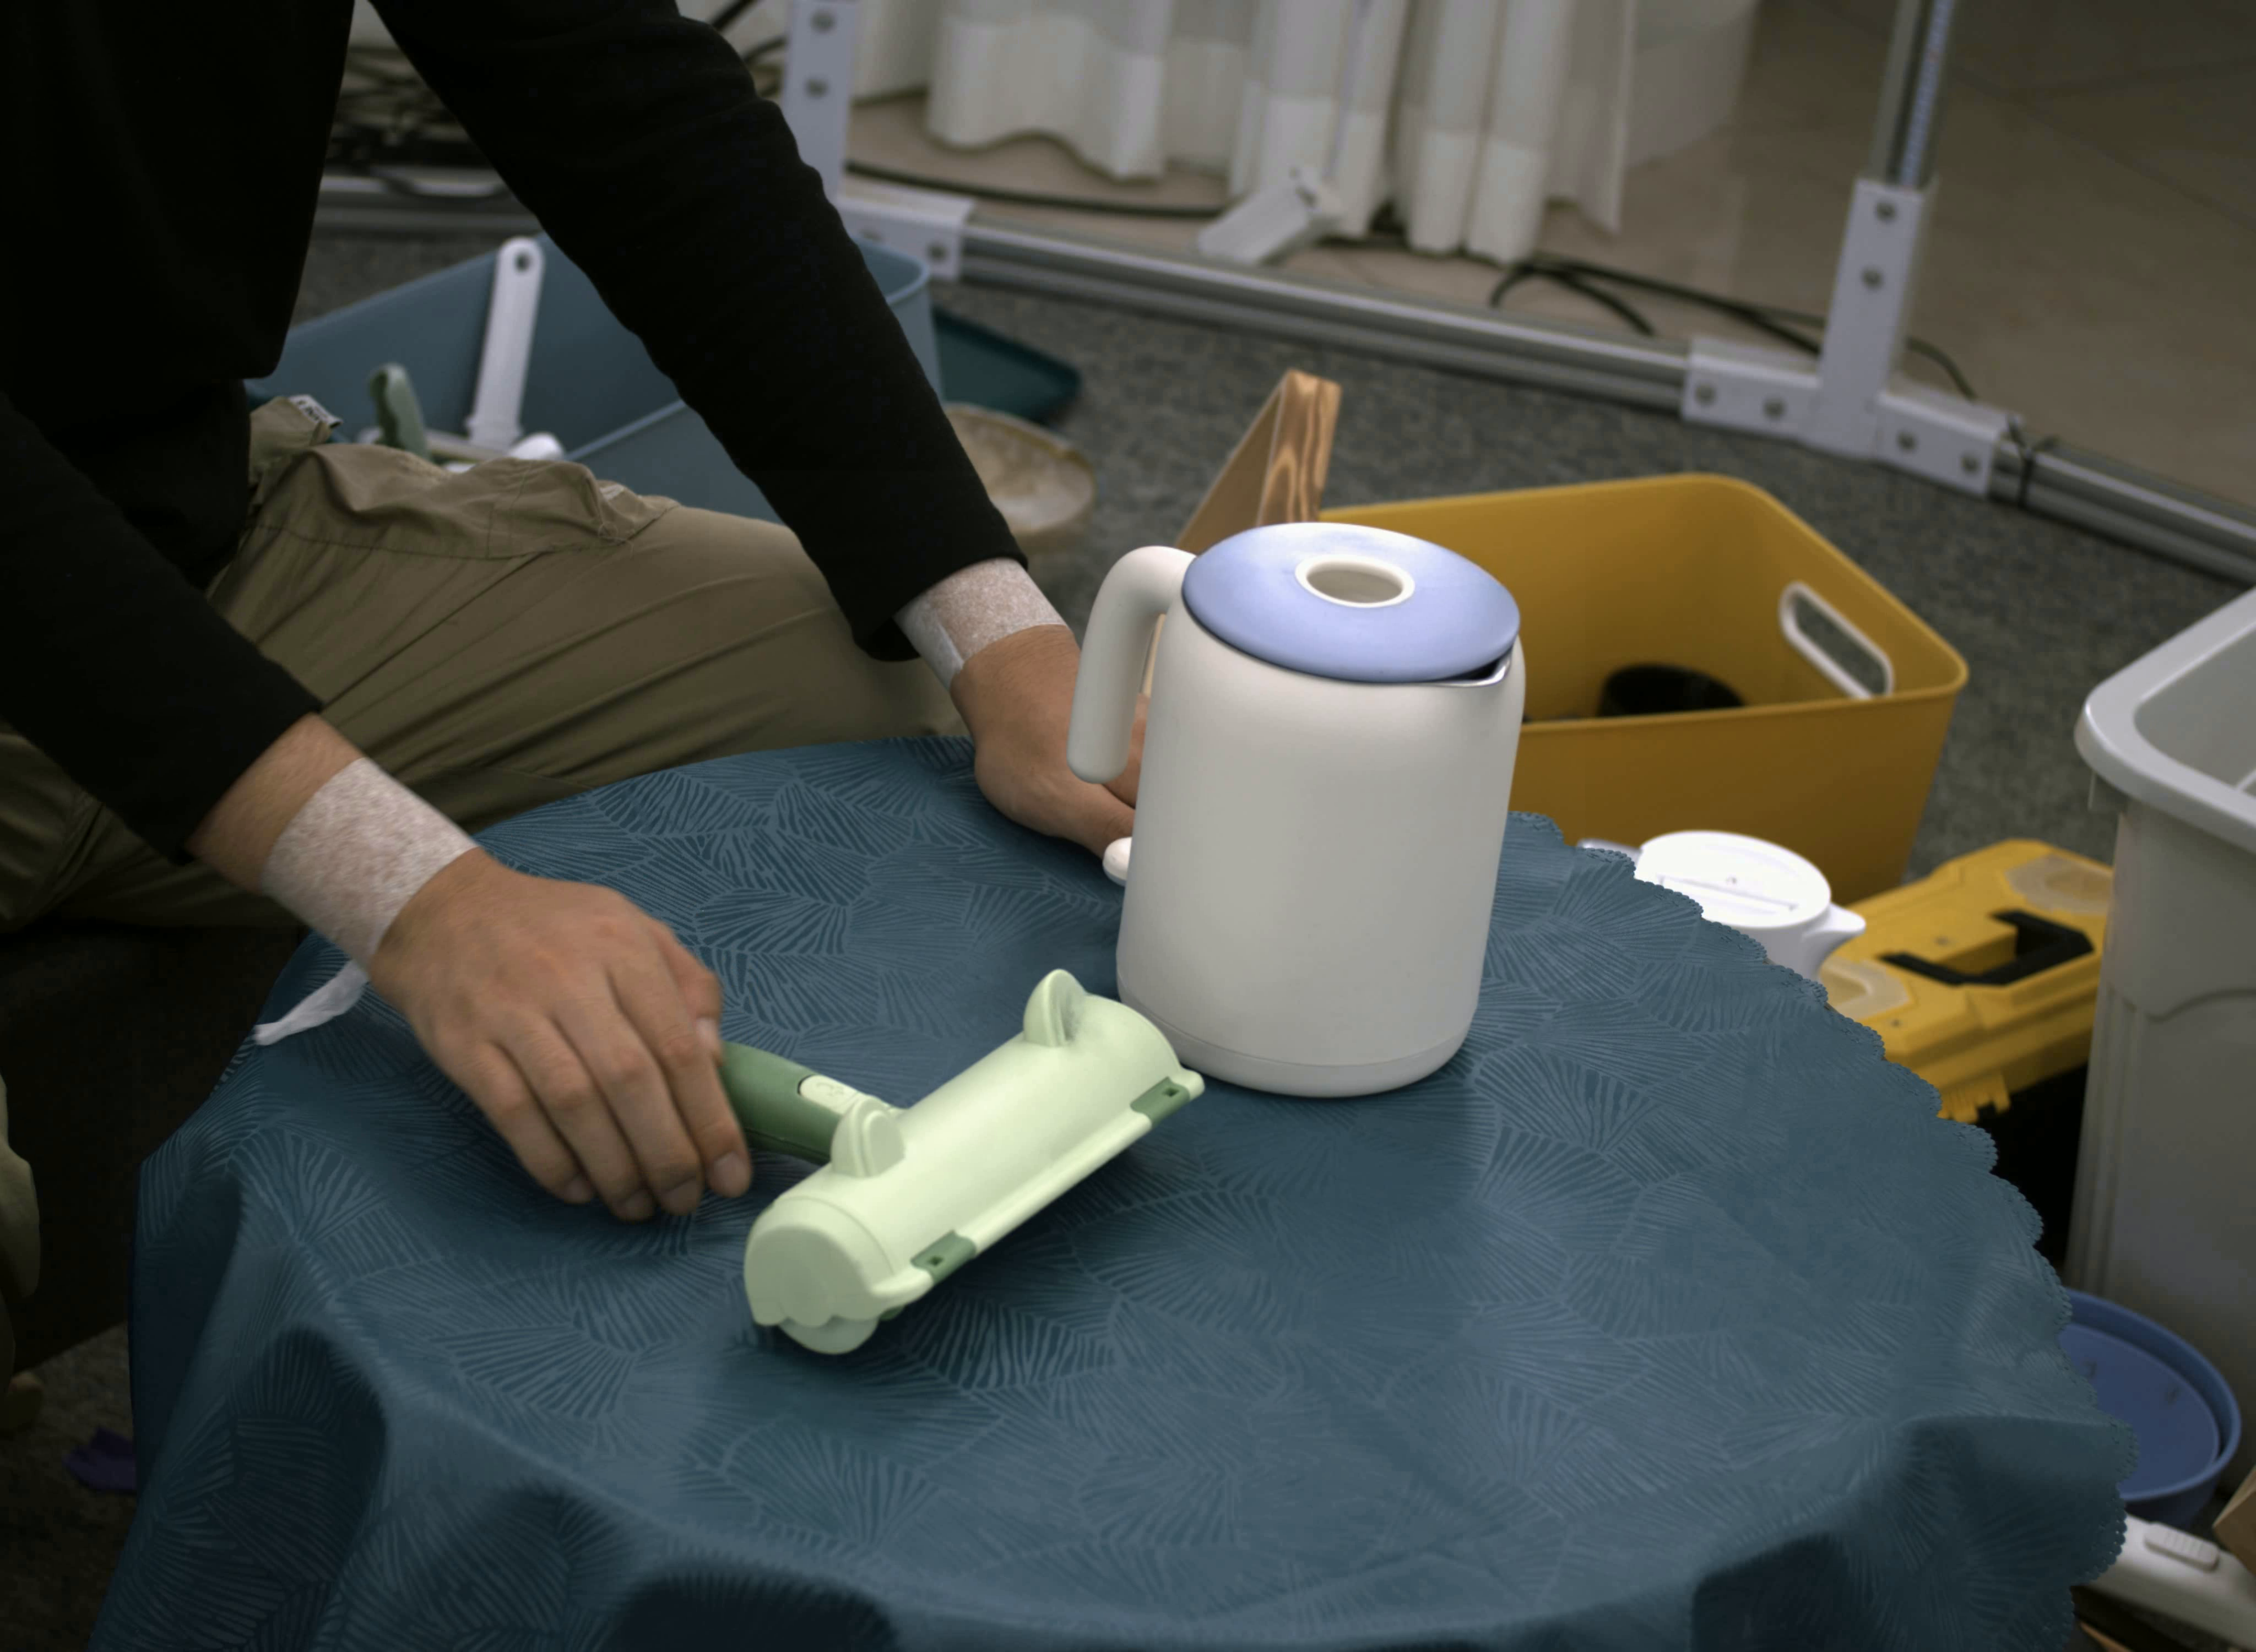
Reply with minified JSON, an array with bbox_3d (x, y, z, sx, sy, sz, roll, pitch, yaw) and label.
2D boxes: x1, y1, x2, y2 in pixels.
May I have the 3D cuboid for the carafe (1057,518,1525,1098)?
[{"bbox_3d":[0.051,-0.016,1.898,0.192,0.182,0.131,25,31,36],"label":"carafe"}]

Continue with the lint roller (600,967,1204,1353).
[{"bbox_3d":[-0.097,0.087,1.768,0.184,0.082,0.198,23,30,24],"label":"lint roller"}]
